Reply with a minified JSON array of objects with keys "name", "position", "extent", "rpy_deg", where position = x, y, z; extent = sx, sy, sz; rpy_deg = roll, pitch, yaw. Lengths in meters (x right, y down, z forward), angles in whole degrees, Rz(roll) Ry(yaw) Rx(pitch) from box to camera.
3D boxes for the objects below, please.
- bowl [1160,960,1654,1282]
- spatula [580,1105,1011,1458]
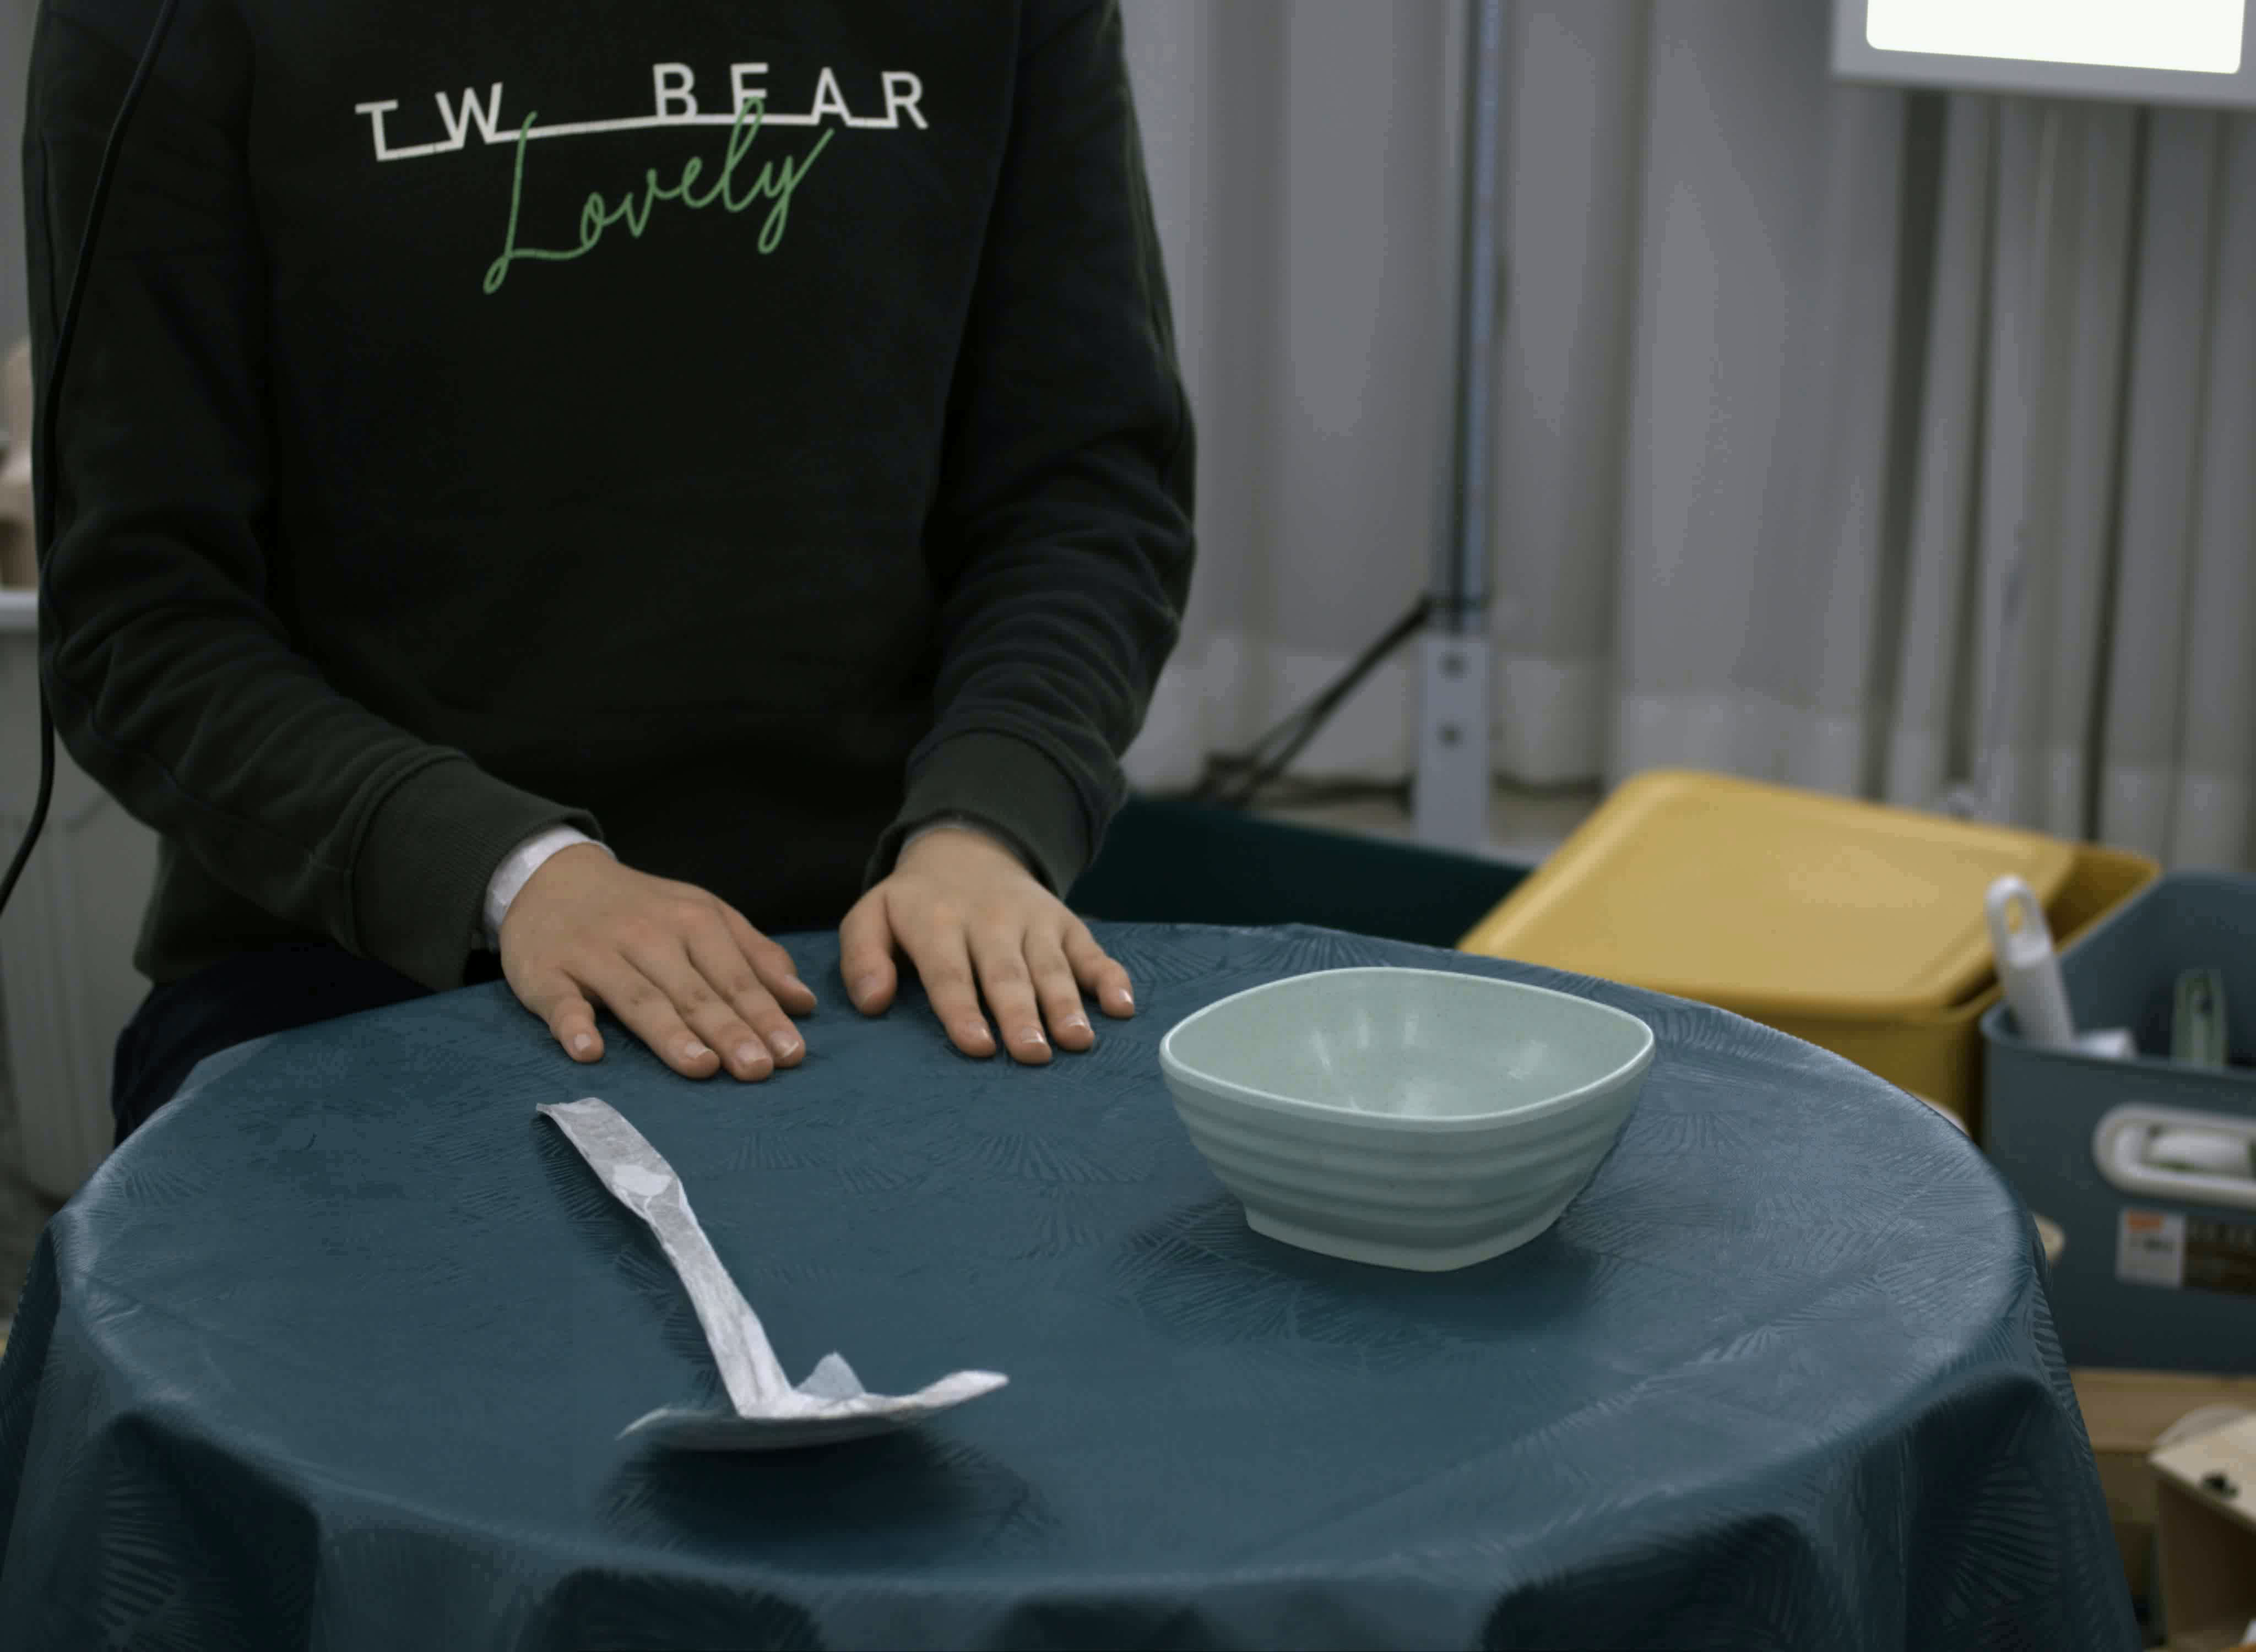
[{"name":"bowl","position":[0.084,0.093,1.599],"extent":[0.151,0.059,0.150],"rpy_deg":[2,18,0]},{"name":"spatula","position":[-0.121,0.122,1.518],"extent":[0.099,0.045,0.361],"rpy_deg":[-6,17,-15]}]
